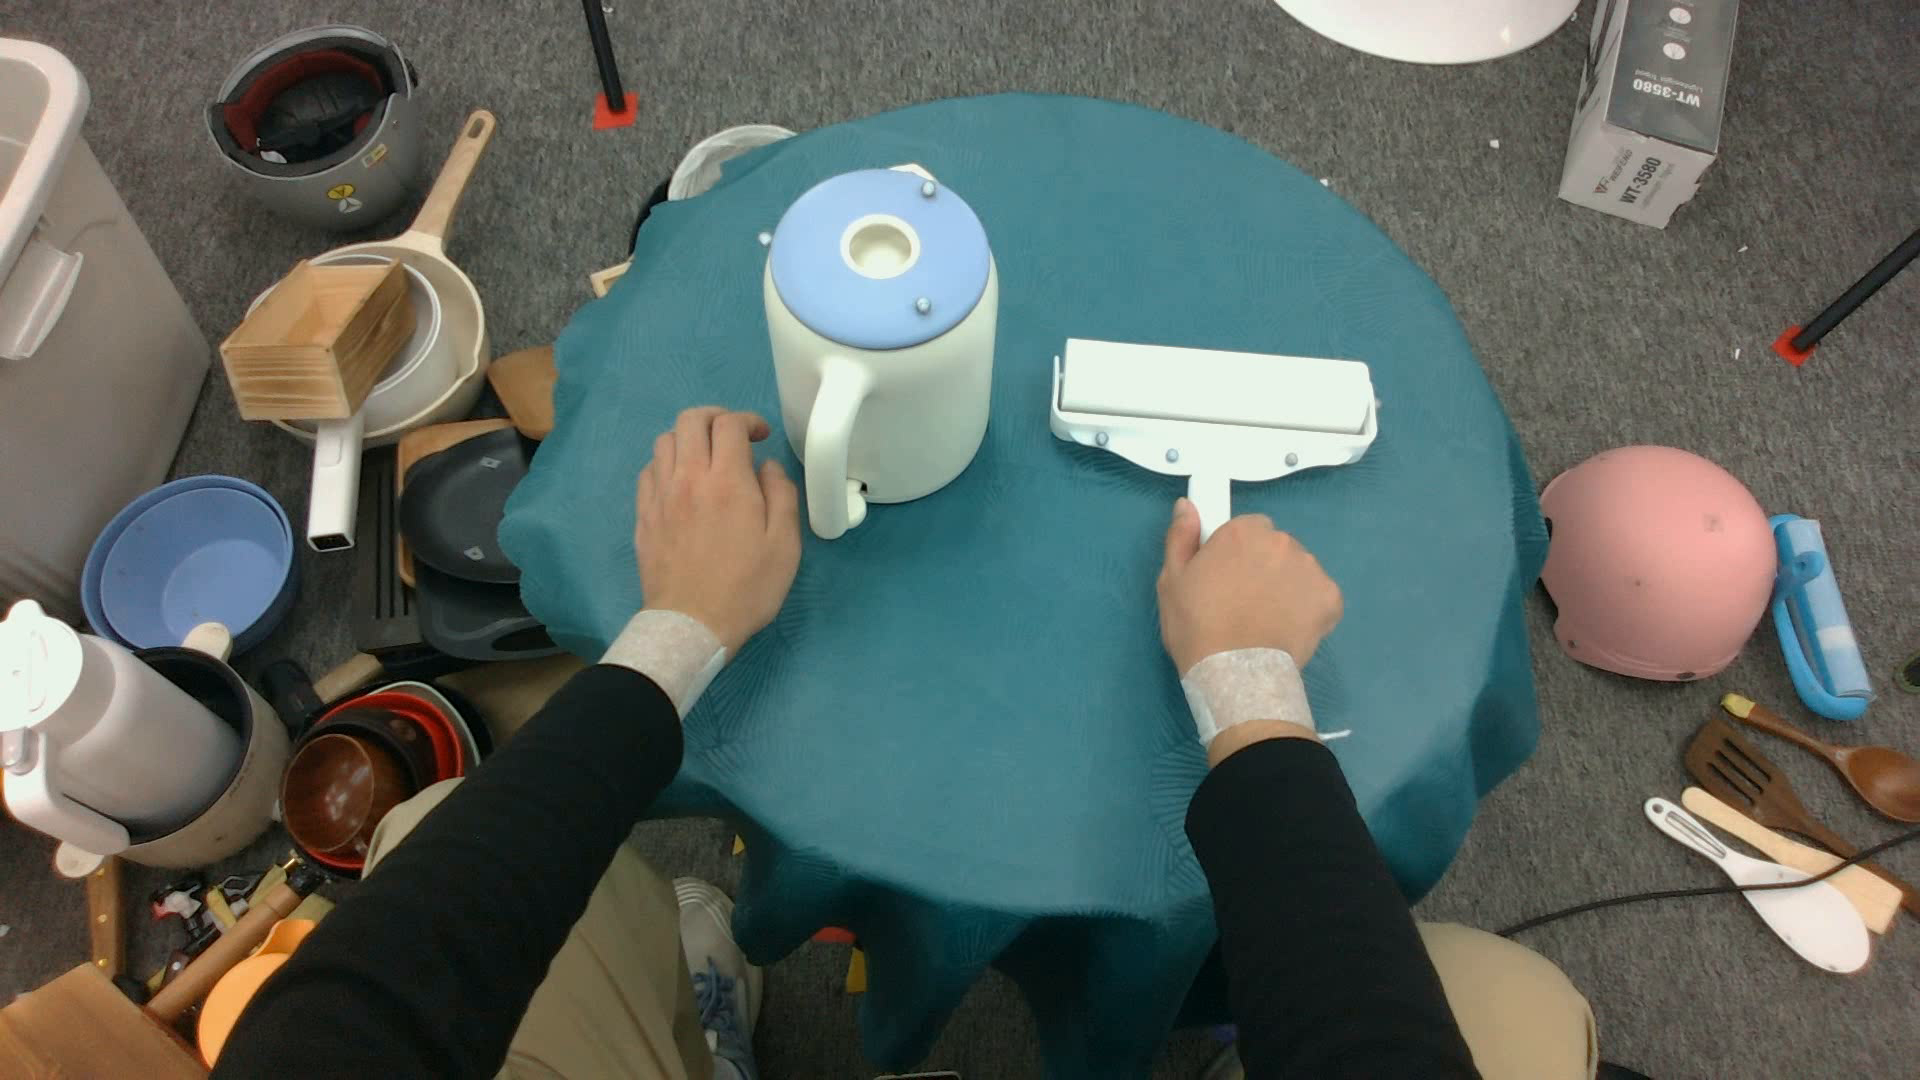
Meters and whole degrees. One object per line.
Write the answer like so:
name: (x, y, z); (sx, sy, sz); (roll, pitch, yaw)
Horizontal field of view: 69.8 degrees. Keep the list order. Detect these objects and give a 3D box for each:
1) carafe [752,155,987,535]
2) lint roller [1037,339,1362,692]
carafe: (-0.058, -0.098, 0.799); (0.132, 0.182, 0.192); (13, 65, 4)
lint roller: (0.146, -0.019, 0.840); (0.203, 0.048, 0.226); (5, 64, -2)
